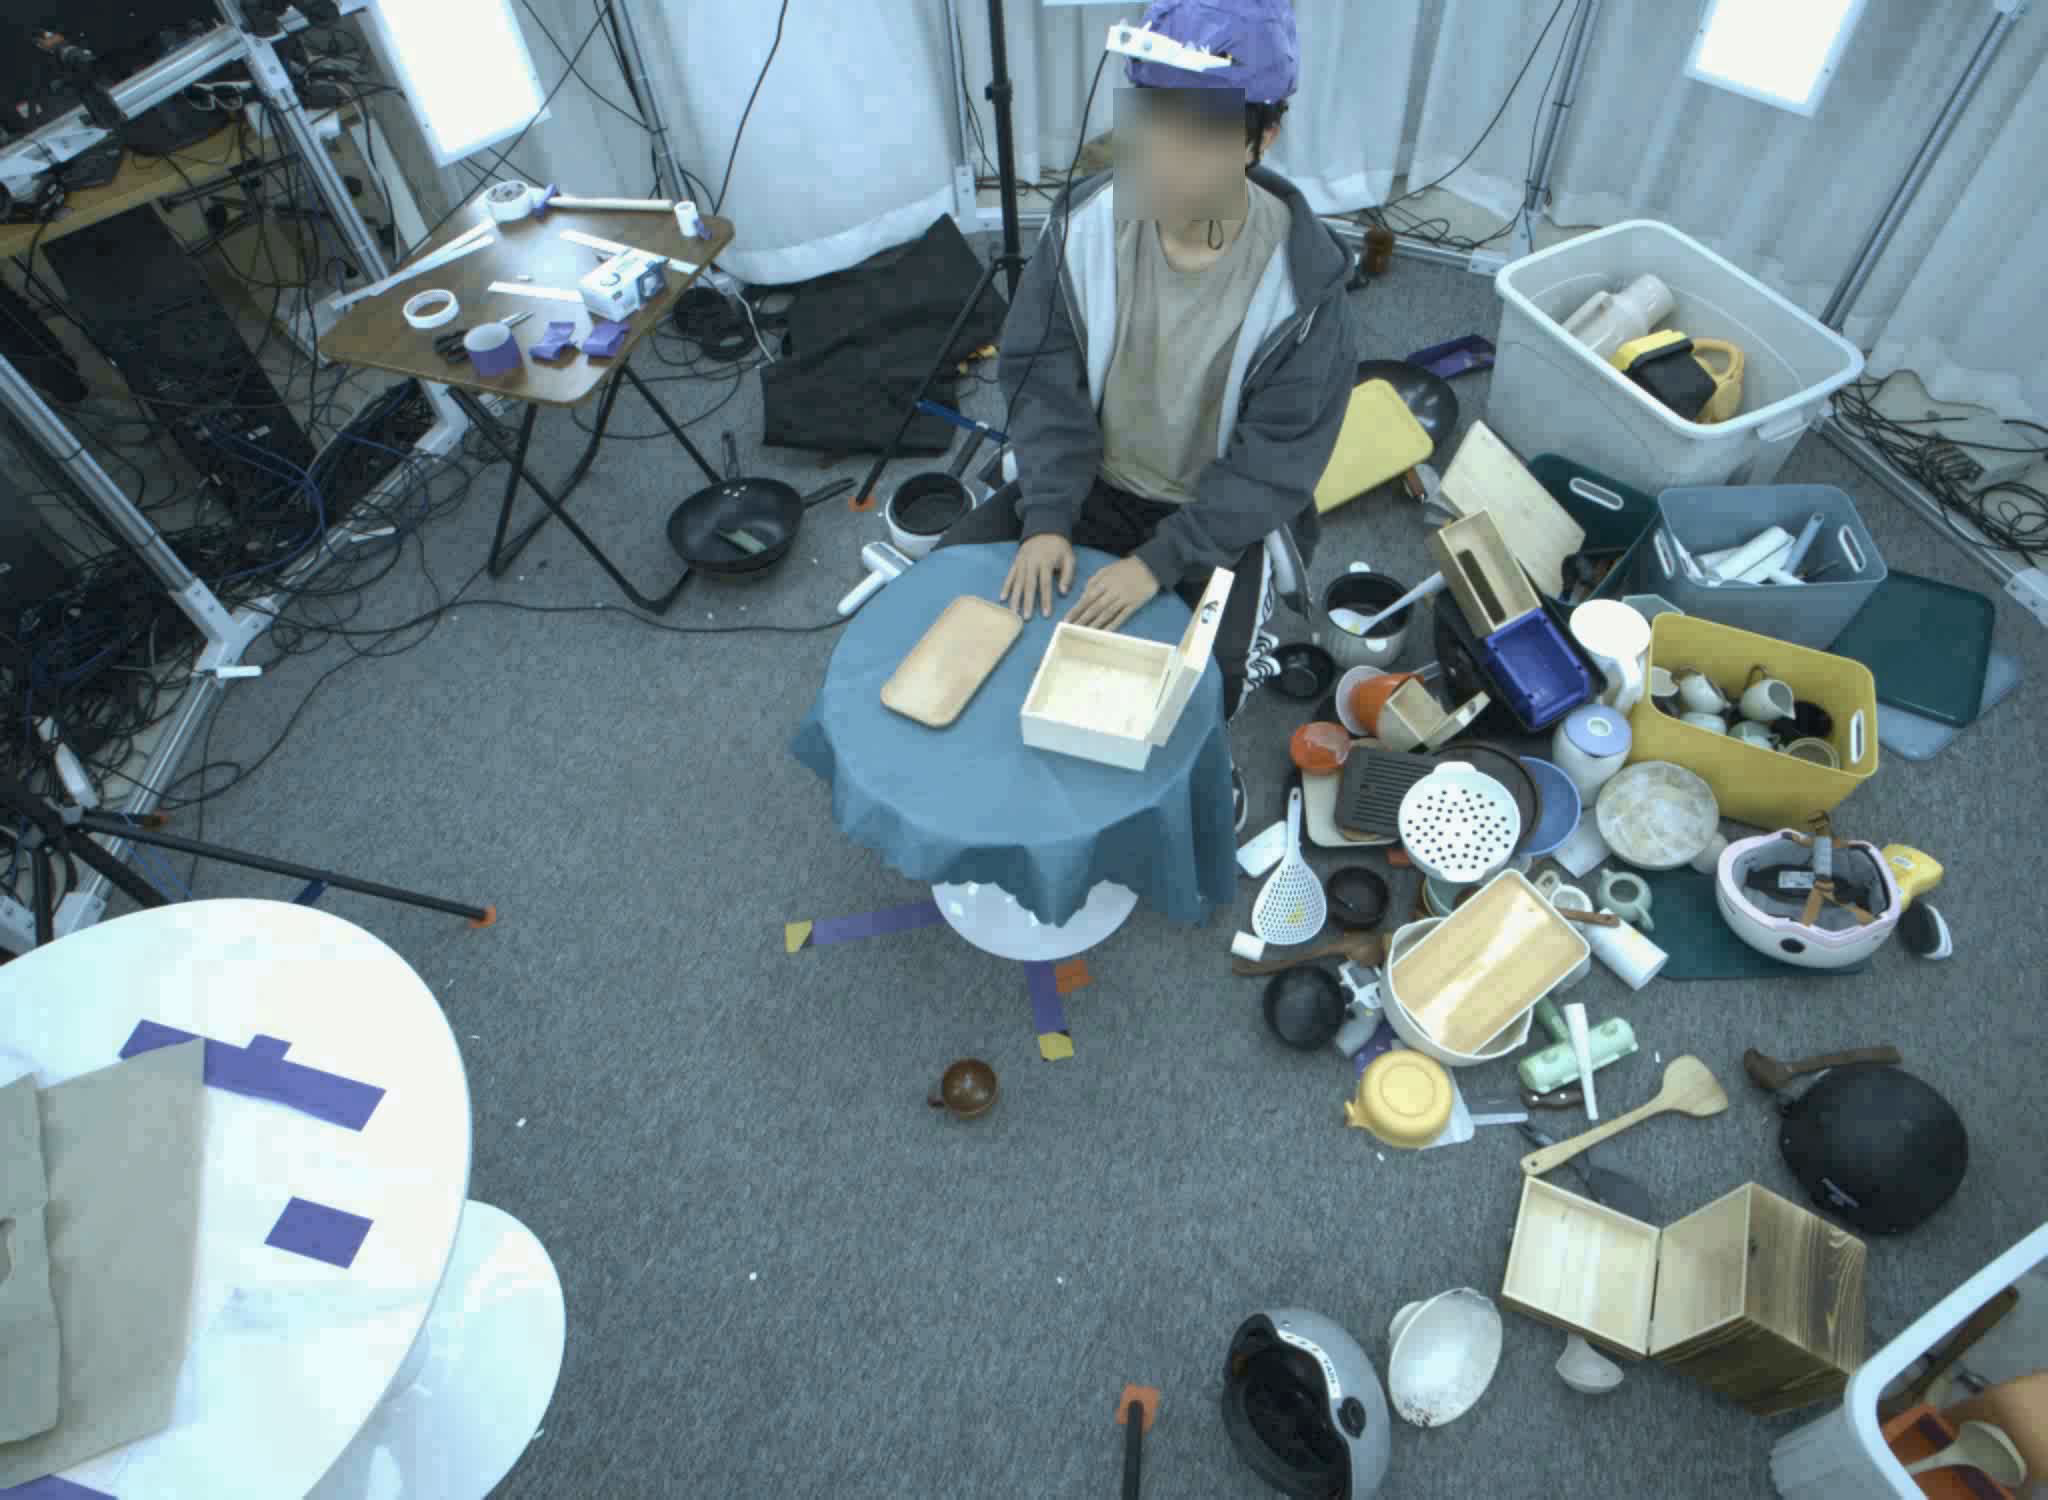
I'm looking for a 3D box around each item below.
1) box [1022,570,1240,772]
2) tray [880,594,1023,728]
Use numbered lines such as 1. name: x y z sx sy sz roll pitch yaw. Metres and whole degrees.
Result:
1. box: 0.141 -0.124 1.723 0.263 0.256 0.181 13 54 10
2. tray: -0.109 -0.139 1.881 0.129 0.023 0.251 26 59 16
